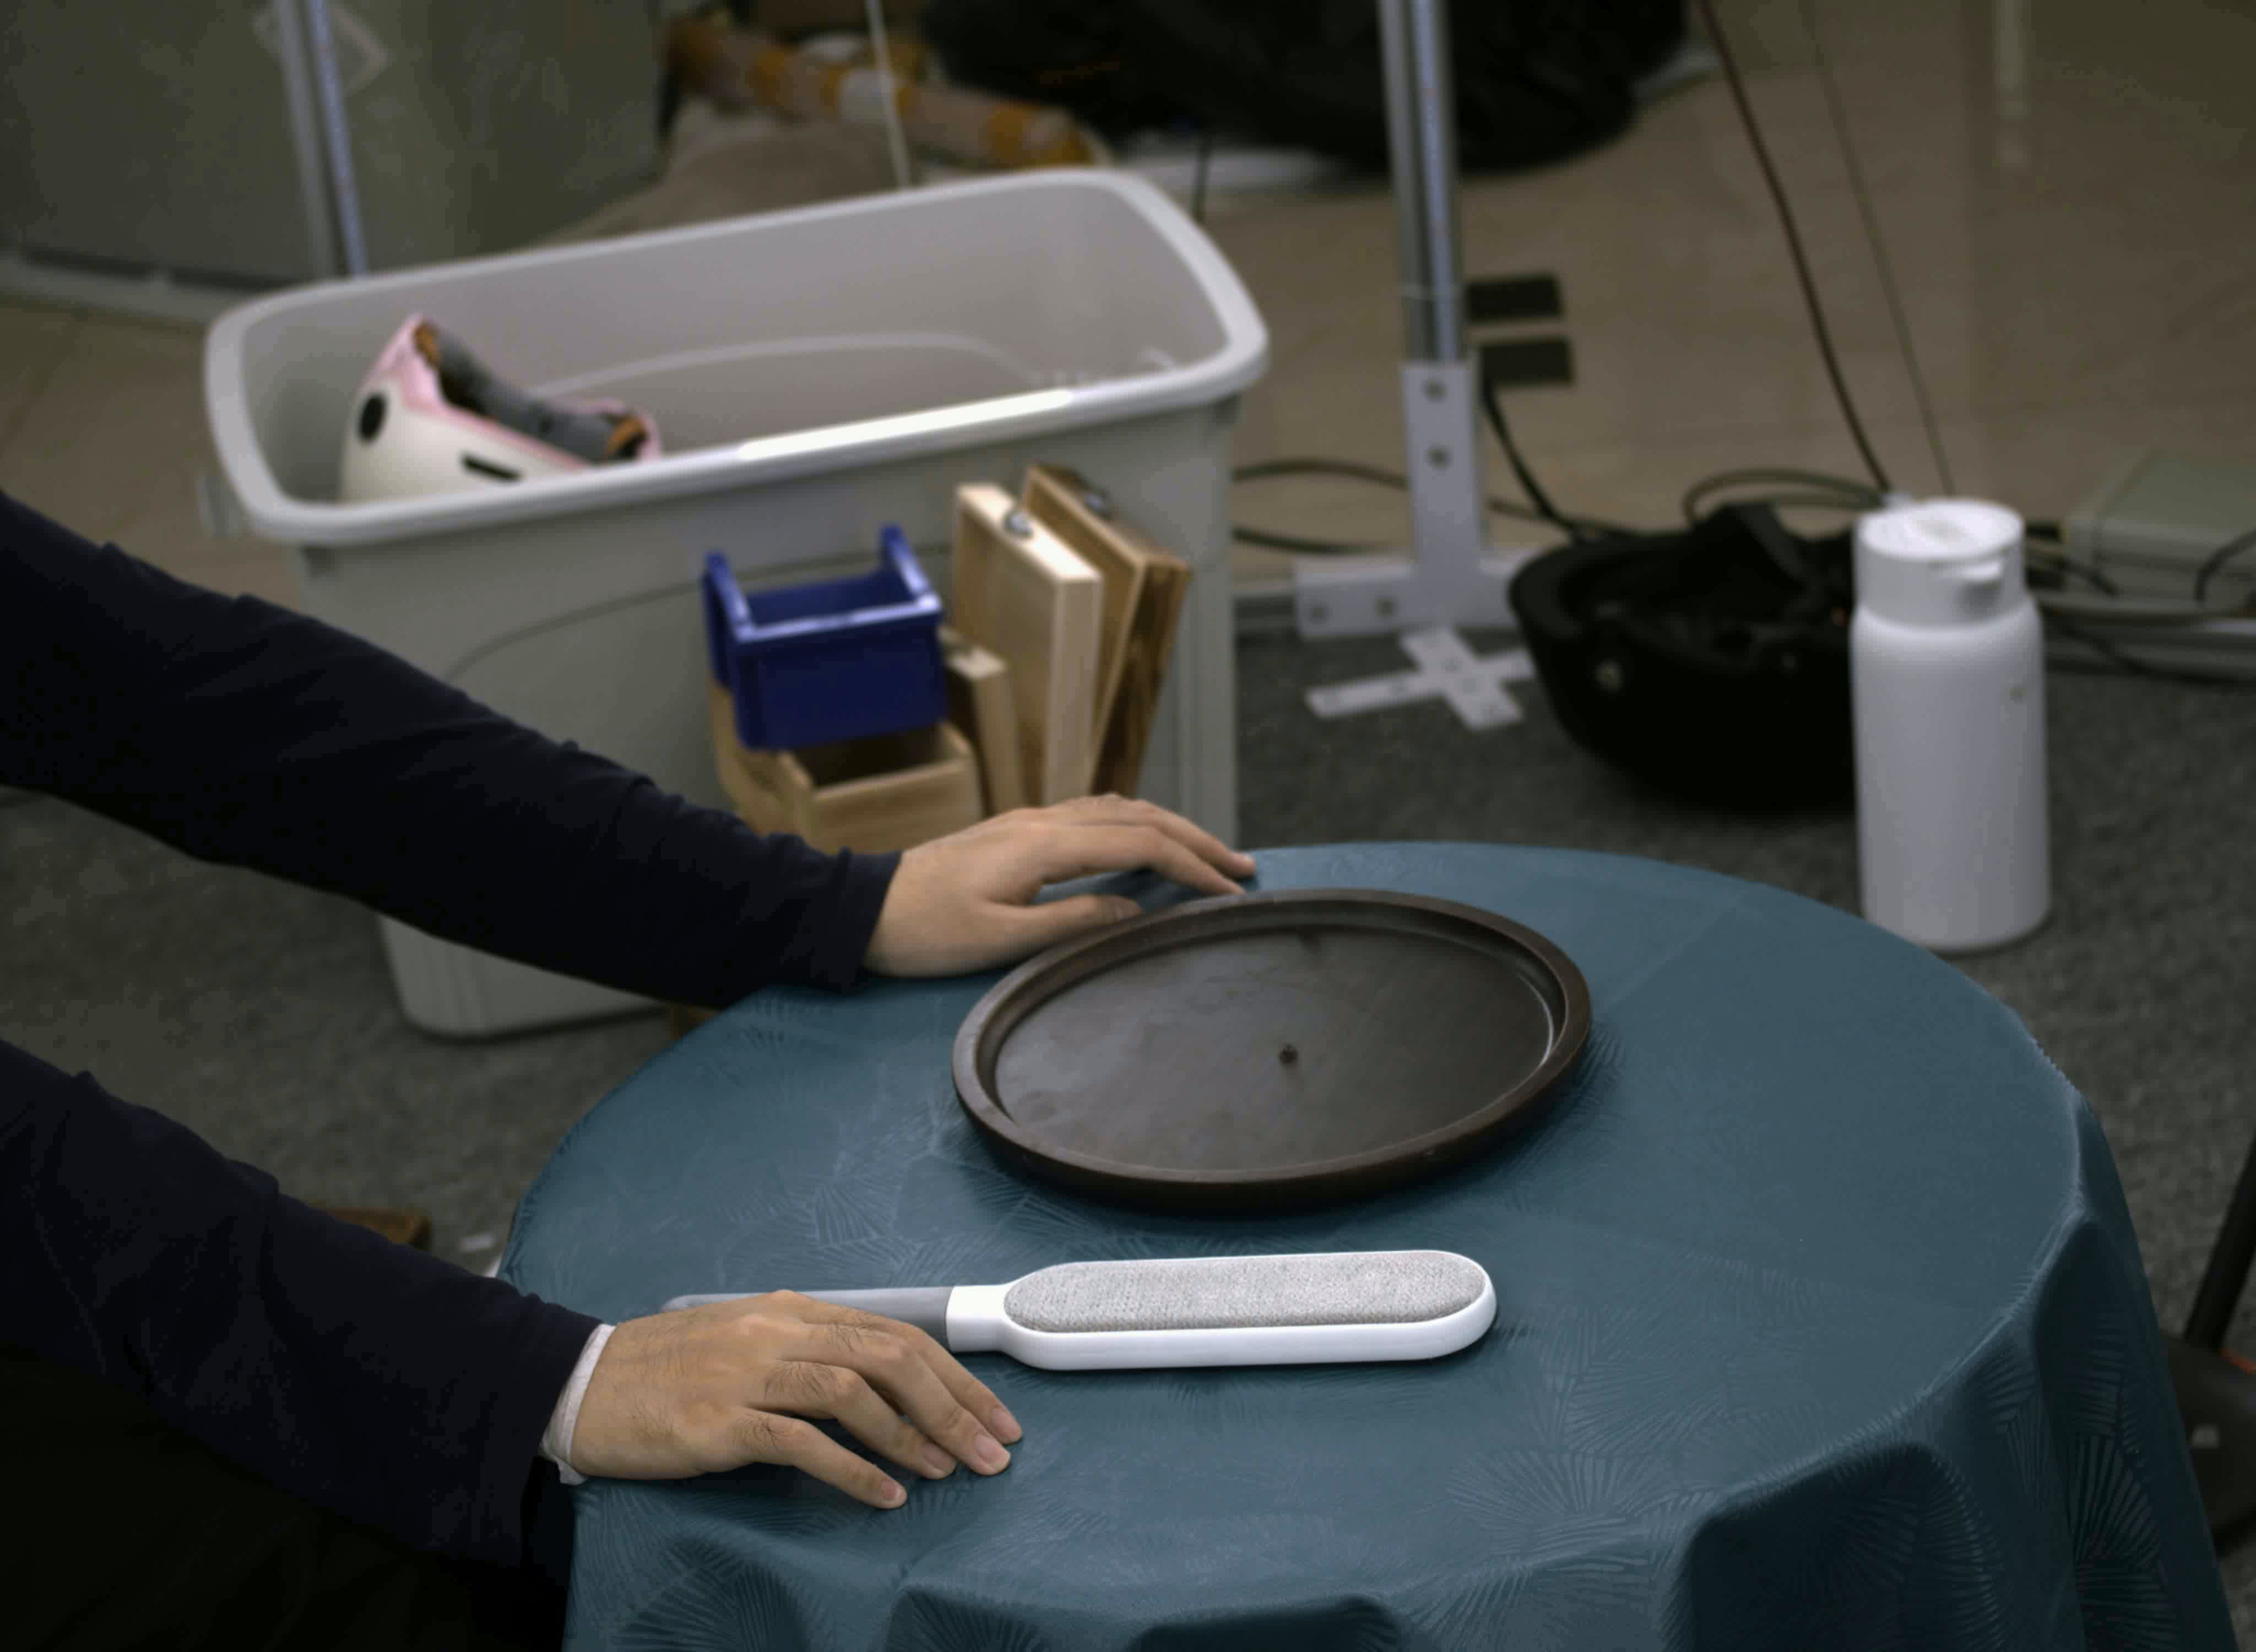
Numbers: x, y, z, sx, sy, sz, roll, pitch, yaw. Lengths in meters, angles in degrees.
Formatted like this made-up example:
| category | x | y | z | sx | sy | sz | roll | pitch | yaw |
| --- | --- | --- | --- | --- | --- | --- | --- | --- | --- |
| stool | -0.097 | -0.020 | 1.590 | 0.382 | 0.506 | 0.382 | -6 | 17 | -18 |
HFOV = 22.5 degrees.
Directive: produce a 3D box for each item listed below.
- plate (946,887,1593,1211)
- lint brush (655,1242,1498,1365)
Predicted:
| category | x | y | z | sx | sy | sz | roll | pitch | yaw |
| --- | --- | --- | --- | --- | --- | --- | --- | --- | --- |
| plate | 0.056 | 0.086 | 2.222 | 0.254 | 0.029 | 0.251 | -5 | 23 | 2 |
| lint brush | -0.021 | 0.173 | 2.050 | 0.308 | 0.021 | 0.059 | -2 | 31 | 10 |
